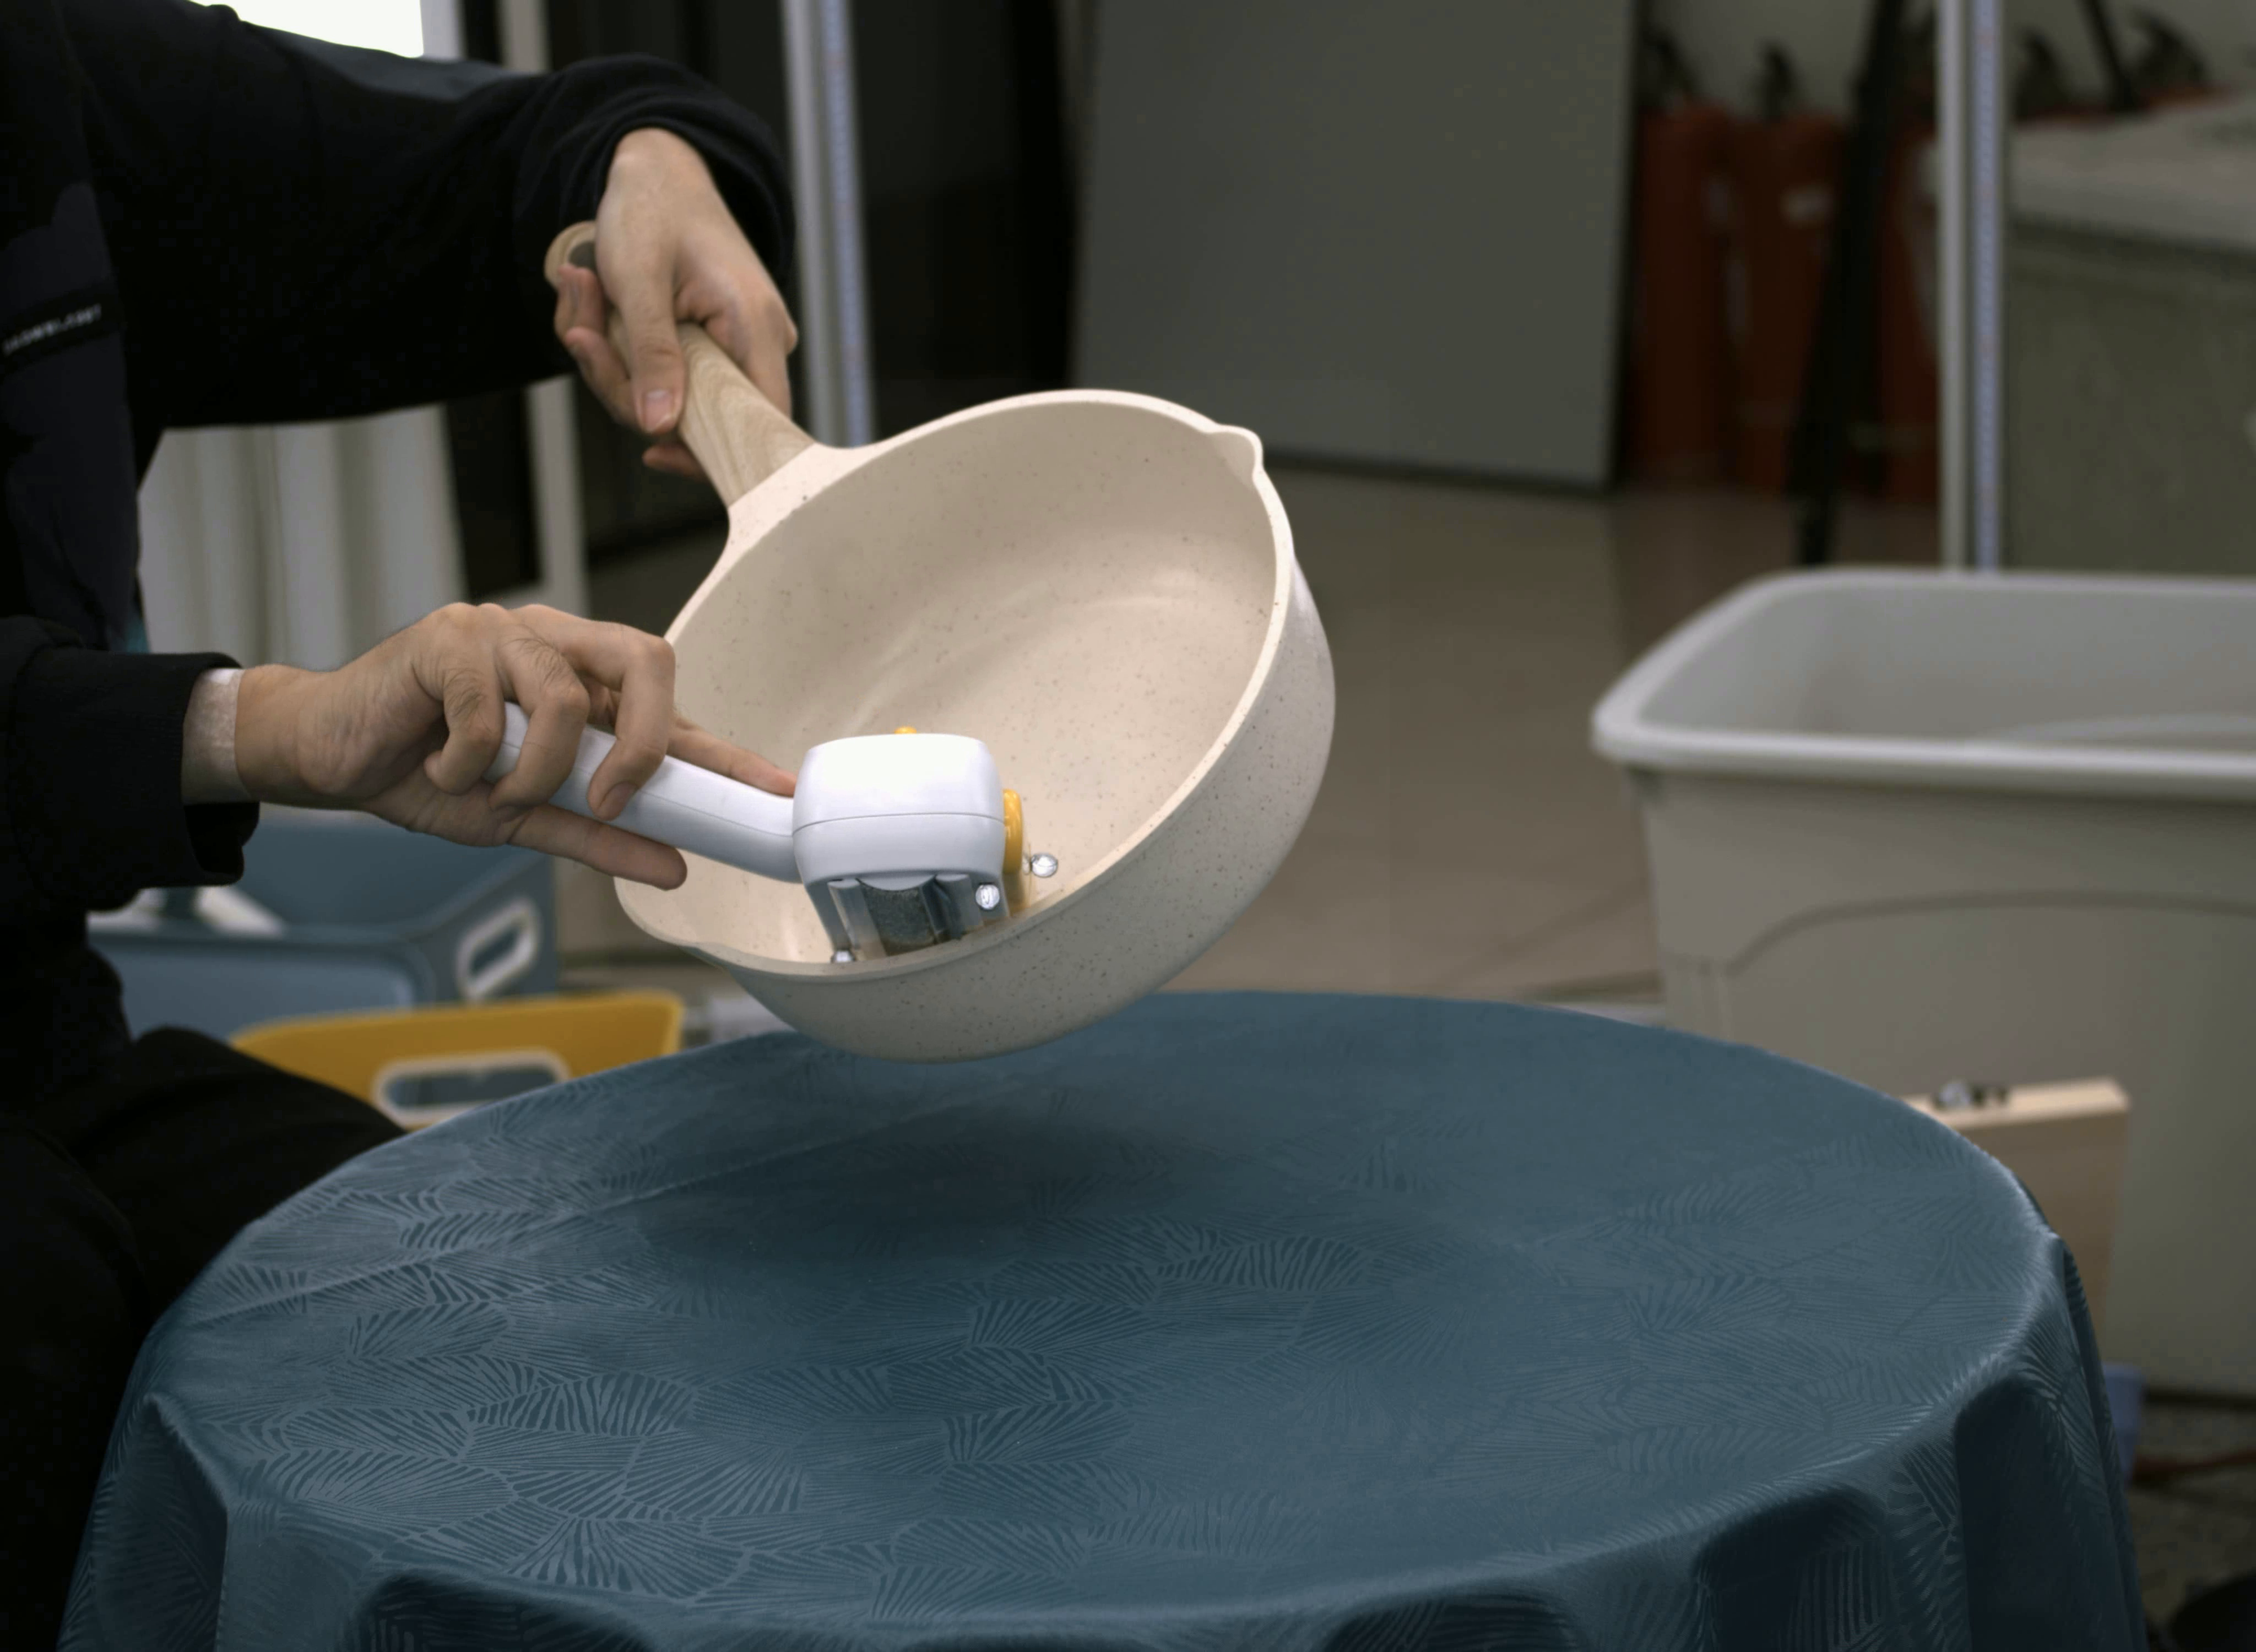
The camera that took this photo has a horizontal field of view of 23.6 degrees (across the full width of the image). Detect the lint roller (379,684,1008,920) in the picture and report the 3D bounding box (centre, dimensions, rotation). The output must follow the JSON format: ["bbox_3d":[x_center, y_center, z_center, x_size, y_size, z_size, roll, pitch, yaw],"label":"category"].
[{"bbox_3d":[-0.140,-0.010,1.685,0.191,0.075,0.192,3,1,8],"label":"lint roller"}]

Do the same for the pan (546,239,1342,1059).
[{"bbox_3d":[-0.086,-0.080,1.875,0.262,0.101,0.440,-41,41,-2],"label":"pan"}]
